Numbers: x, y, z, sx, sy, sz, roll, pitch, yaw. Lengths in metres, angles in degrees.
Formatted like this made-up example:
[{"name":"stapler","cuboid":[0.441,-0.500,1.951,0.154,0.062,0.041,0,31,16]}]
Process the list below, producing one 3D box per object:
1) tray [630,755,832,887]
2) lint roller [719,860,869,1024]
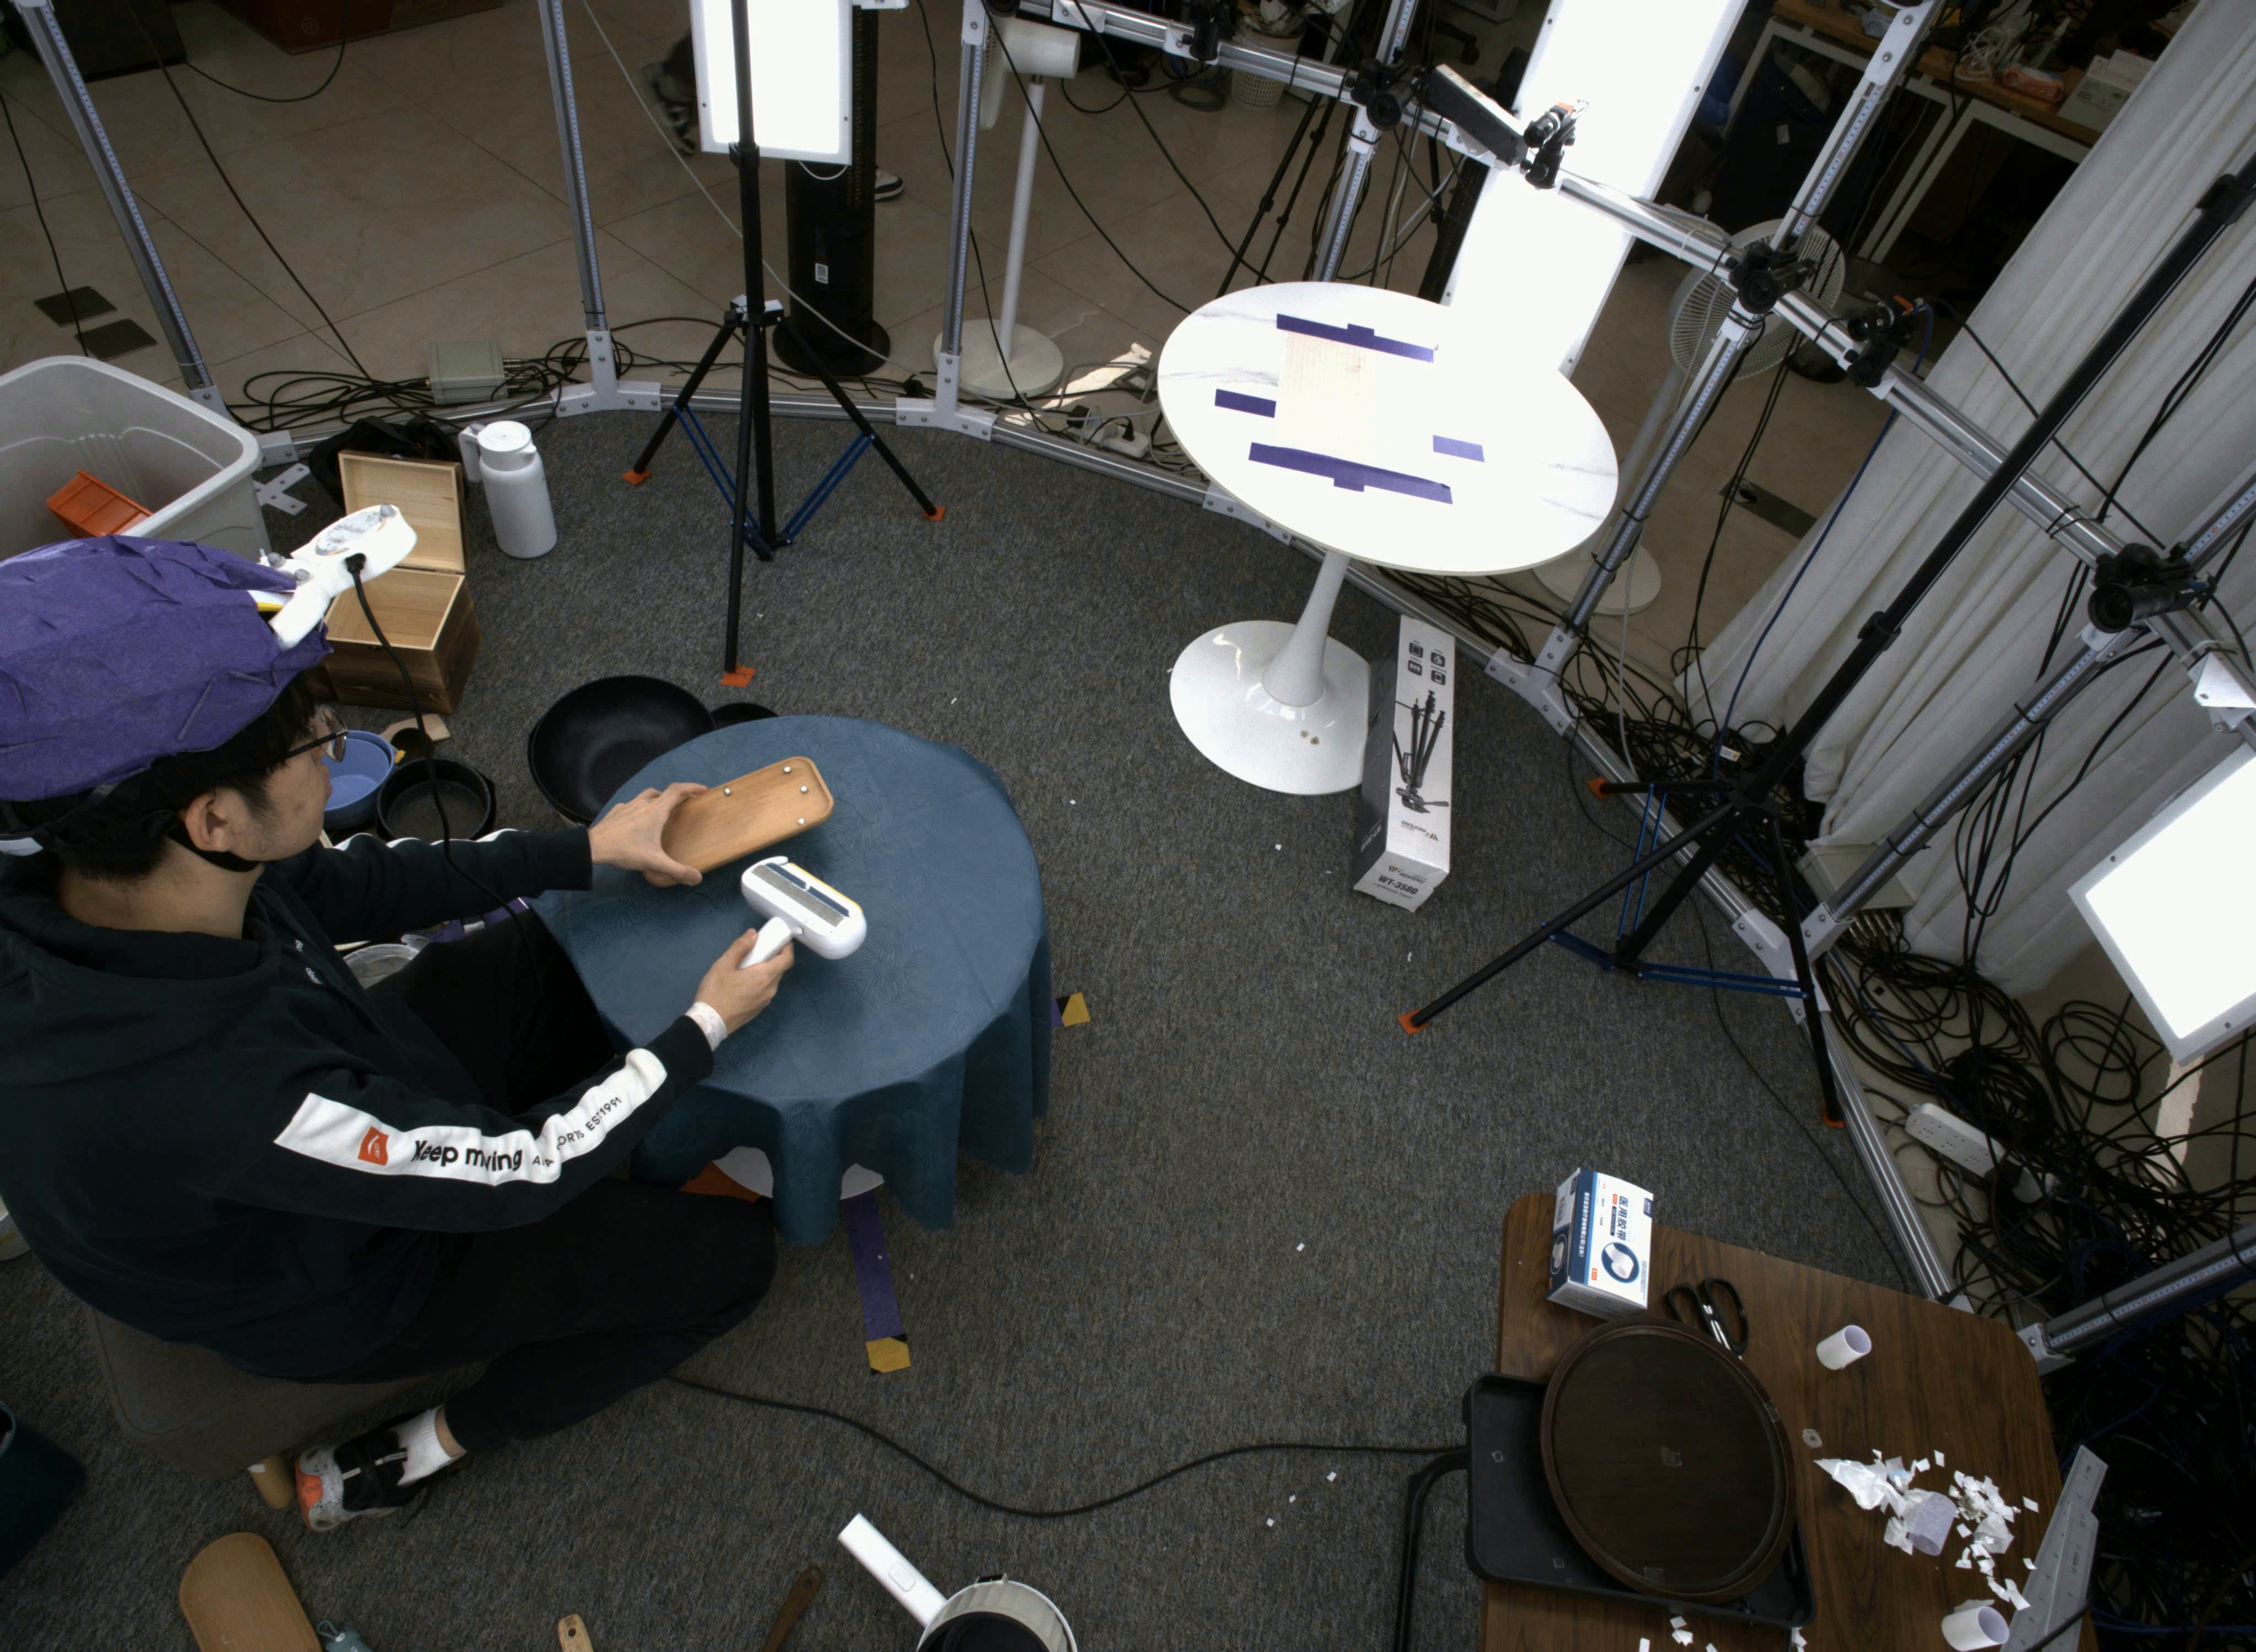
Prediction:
[{"name":"tray","cuboid":[-0.506,-0.009,1.644,0.250,0.023,0.126,-24,49,-17]},{"name":"lint roller","cuboid":[-0.423,0.148,1.552,0.186,0.077,0.192,34,72,32]}]
